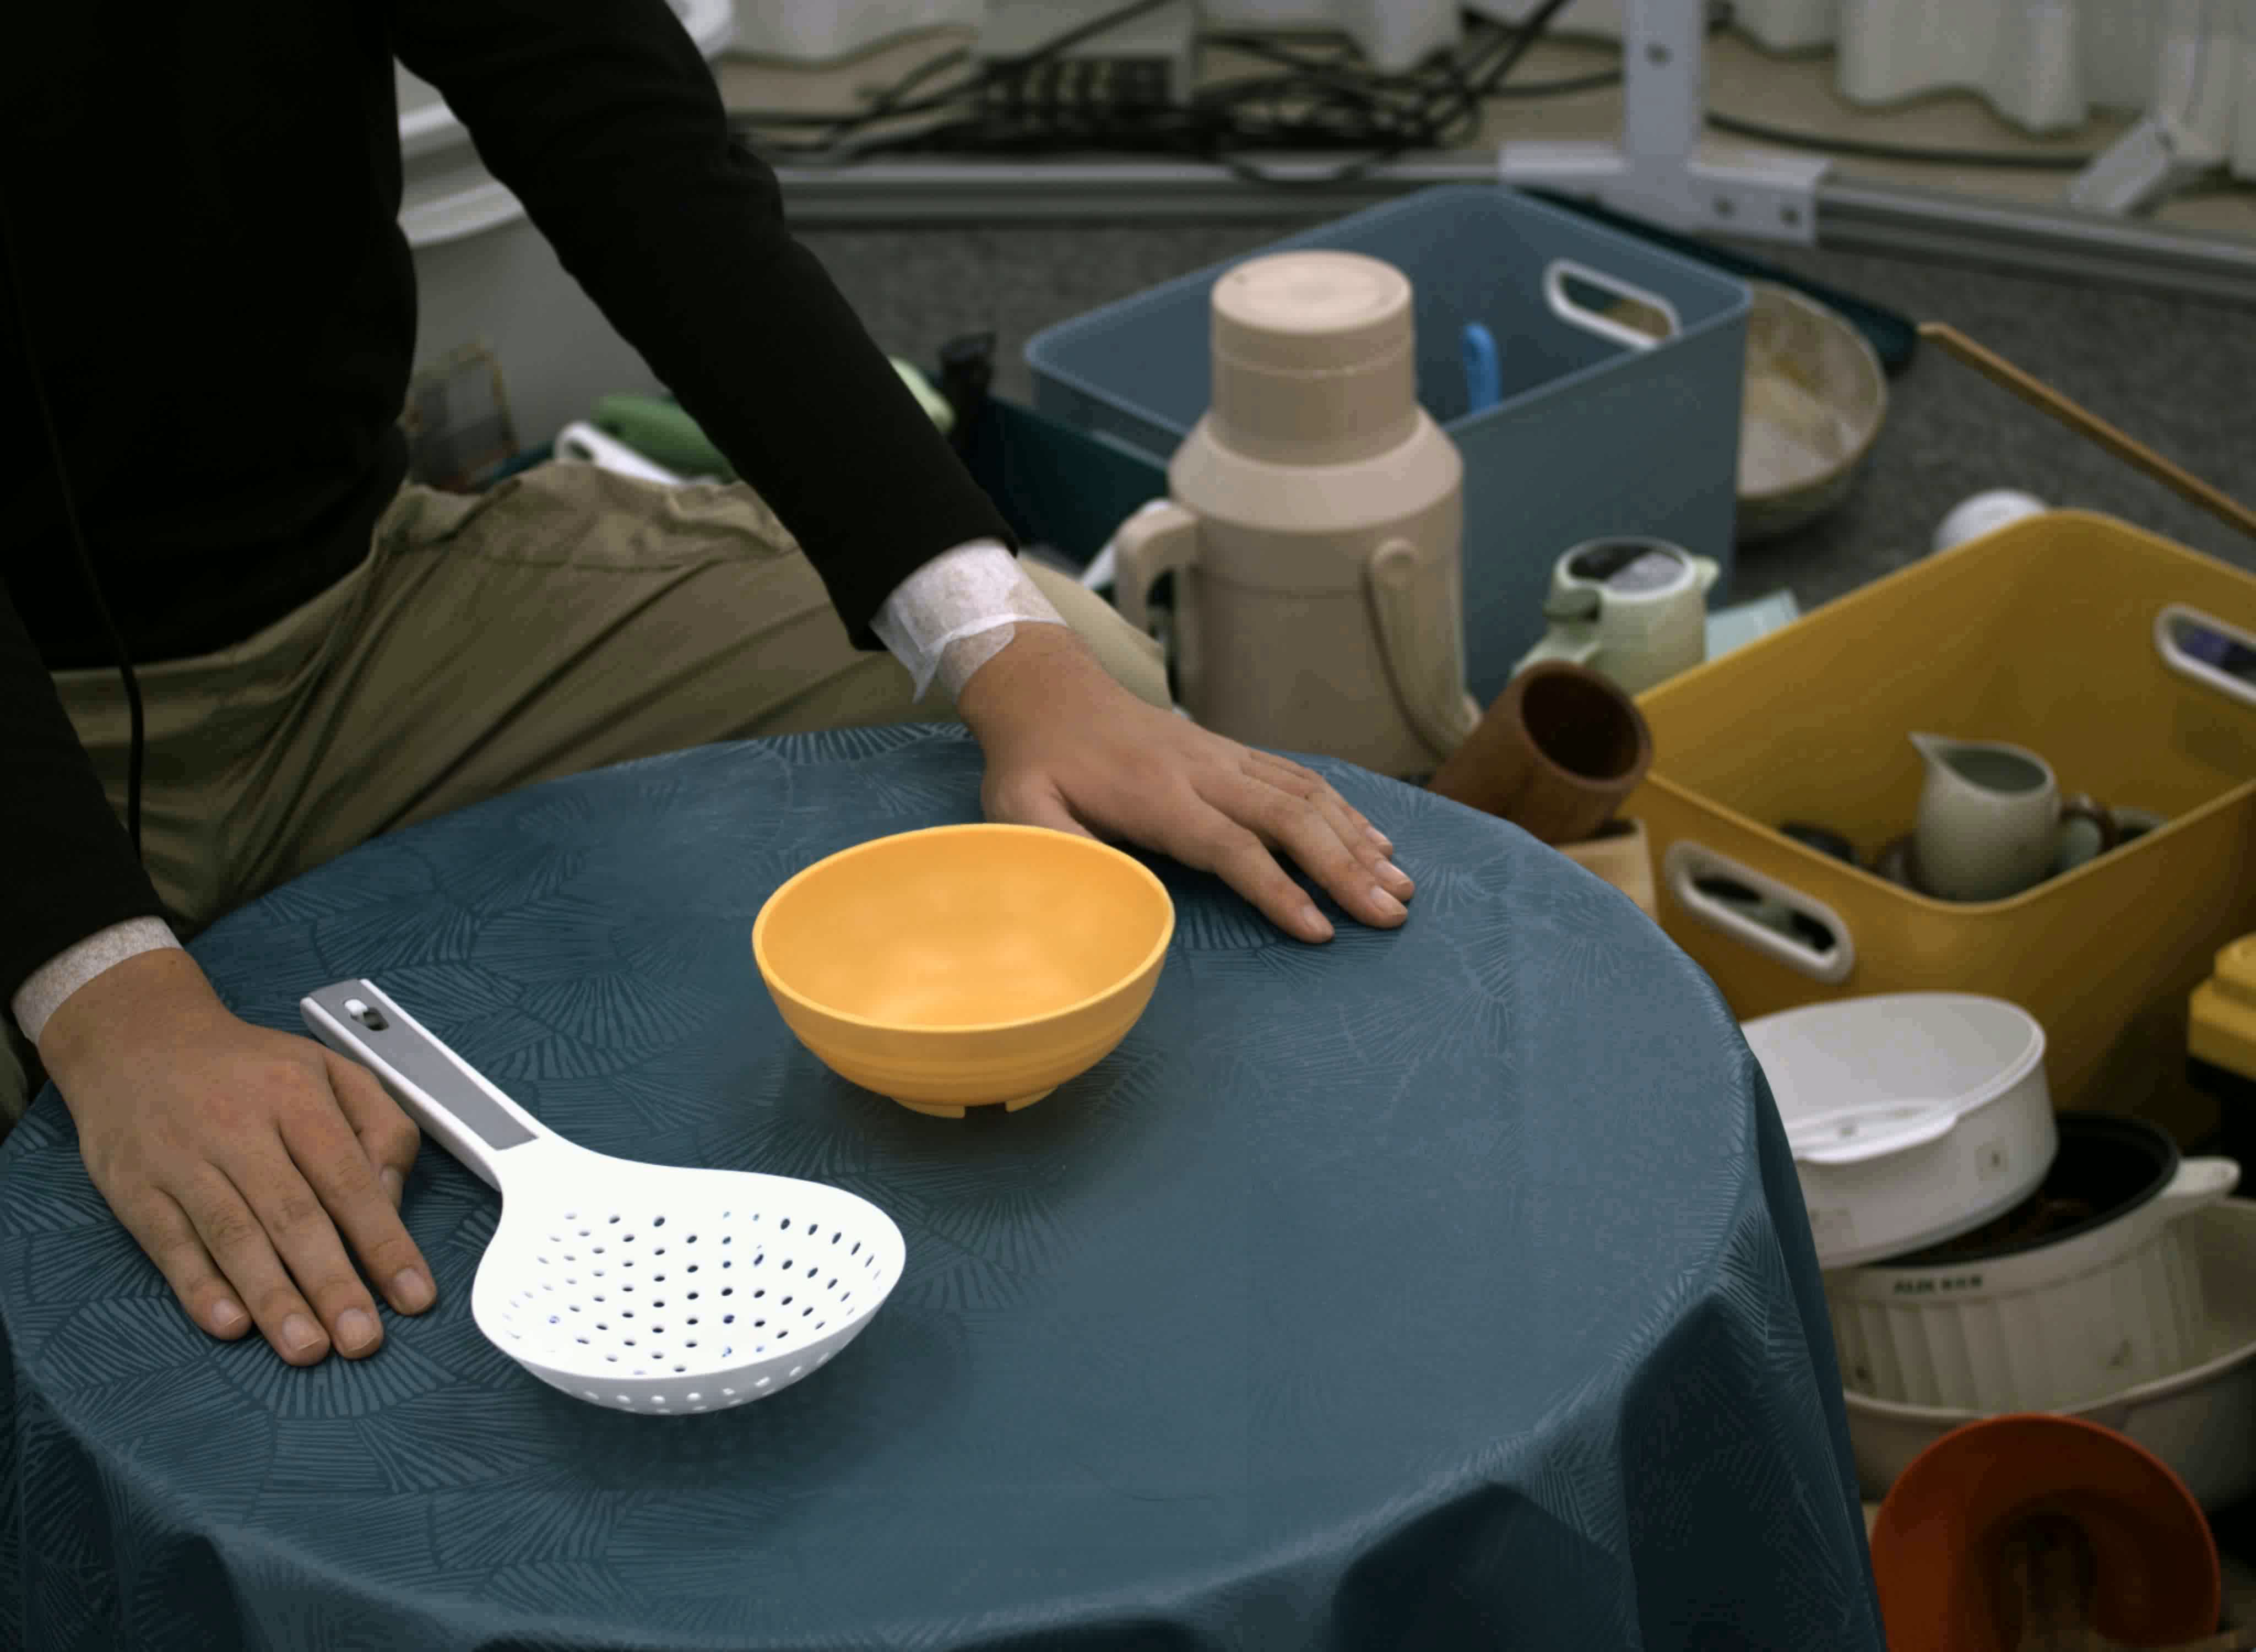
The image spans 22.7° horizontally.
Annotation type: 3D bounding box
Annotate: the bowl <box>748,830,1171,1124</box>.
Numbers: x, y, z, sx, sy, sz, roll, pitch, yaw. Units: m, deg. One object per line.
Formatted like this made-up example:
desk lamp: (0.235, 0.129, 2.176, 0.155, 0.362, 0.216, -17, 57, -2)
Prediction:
bowl: (-0.057, 0.060, 1.925, 0.144, 0.059, 0.147, -1, 27, 1)

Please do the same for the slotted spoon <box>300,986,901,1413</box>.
slotted spoon: (-0.193, 0.115, 1.843, 0.137, 0.045, 0.351, -17, 30, -27)
